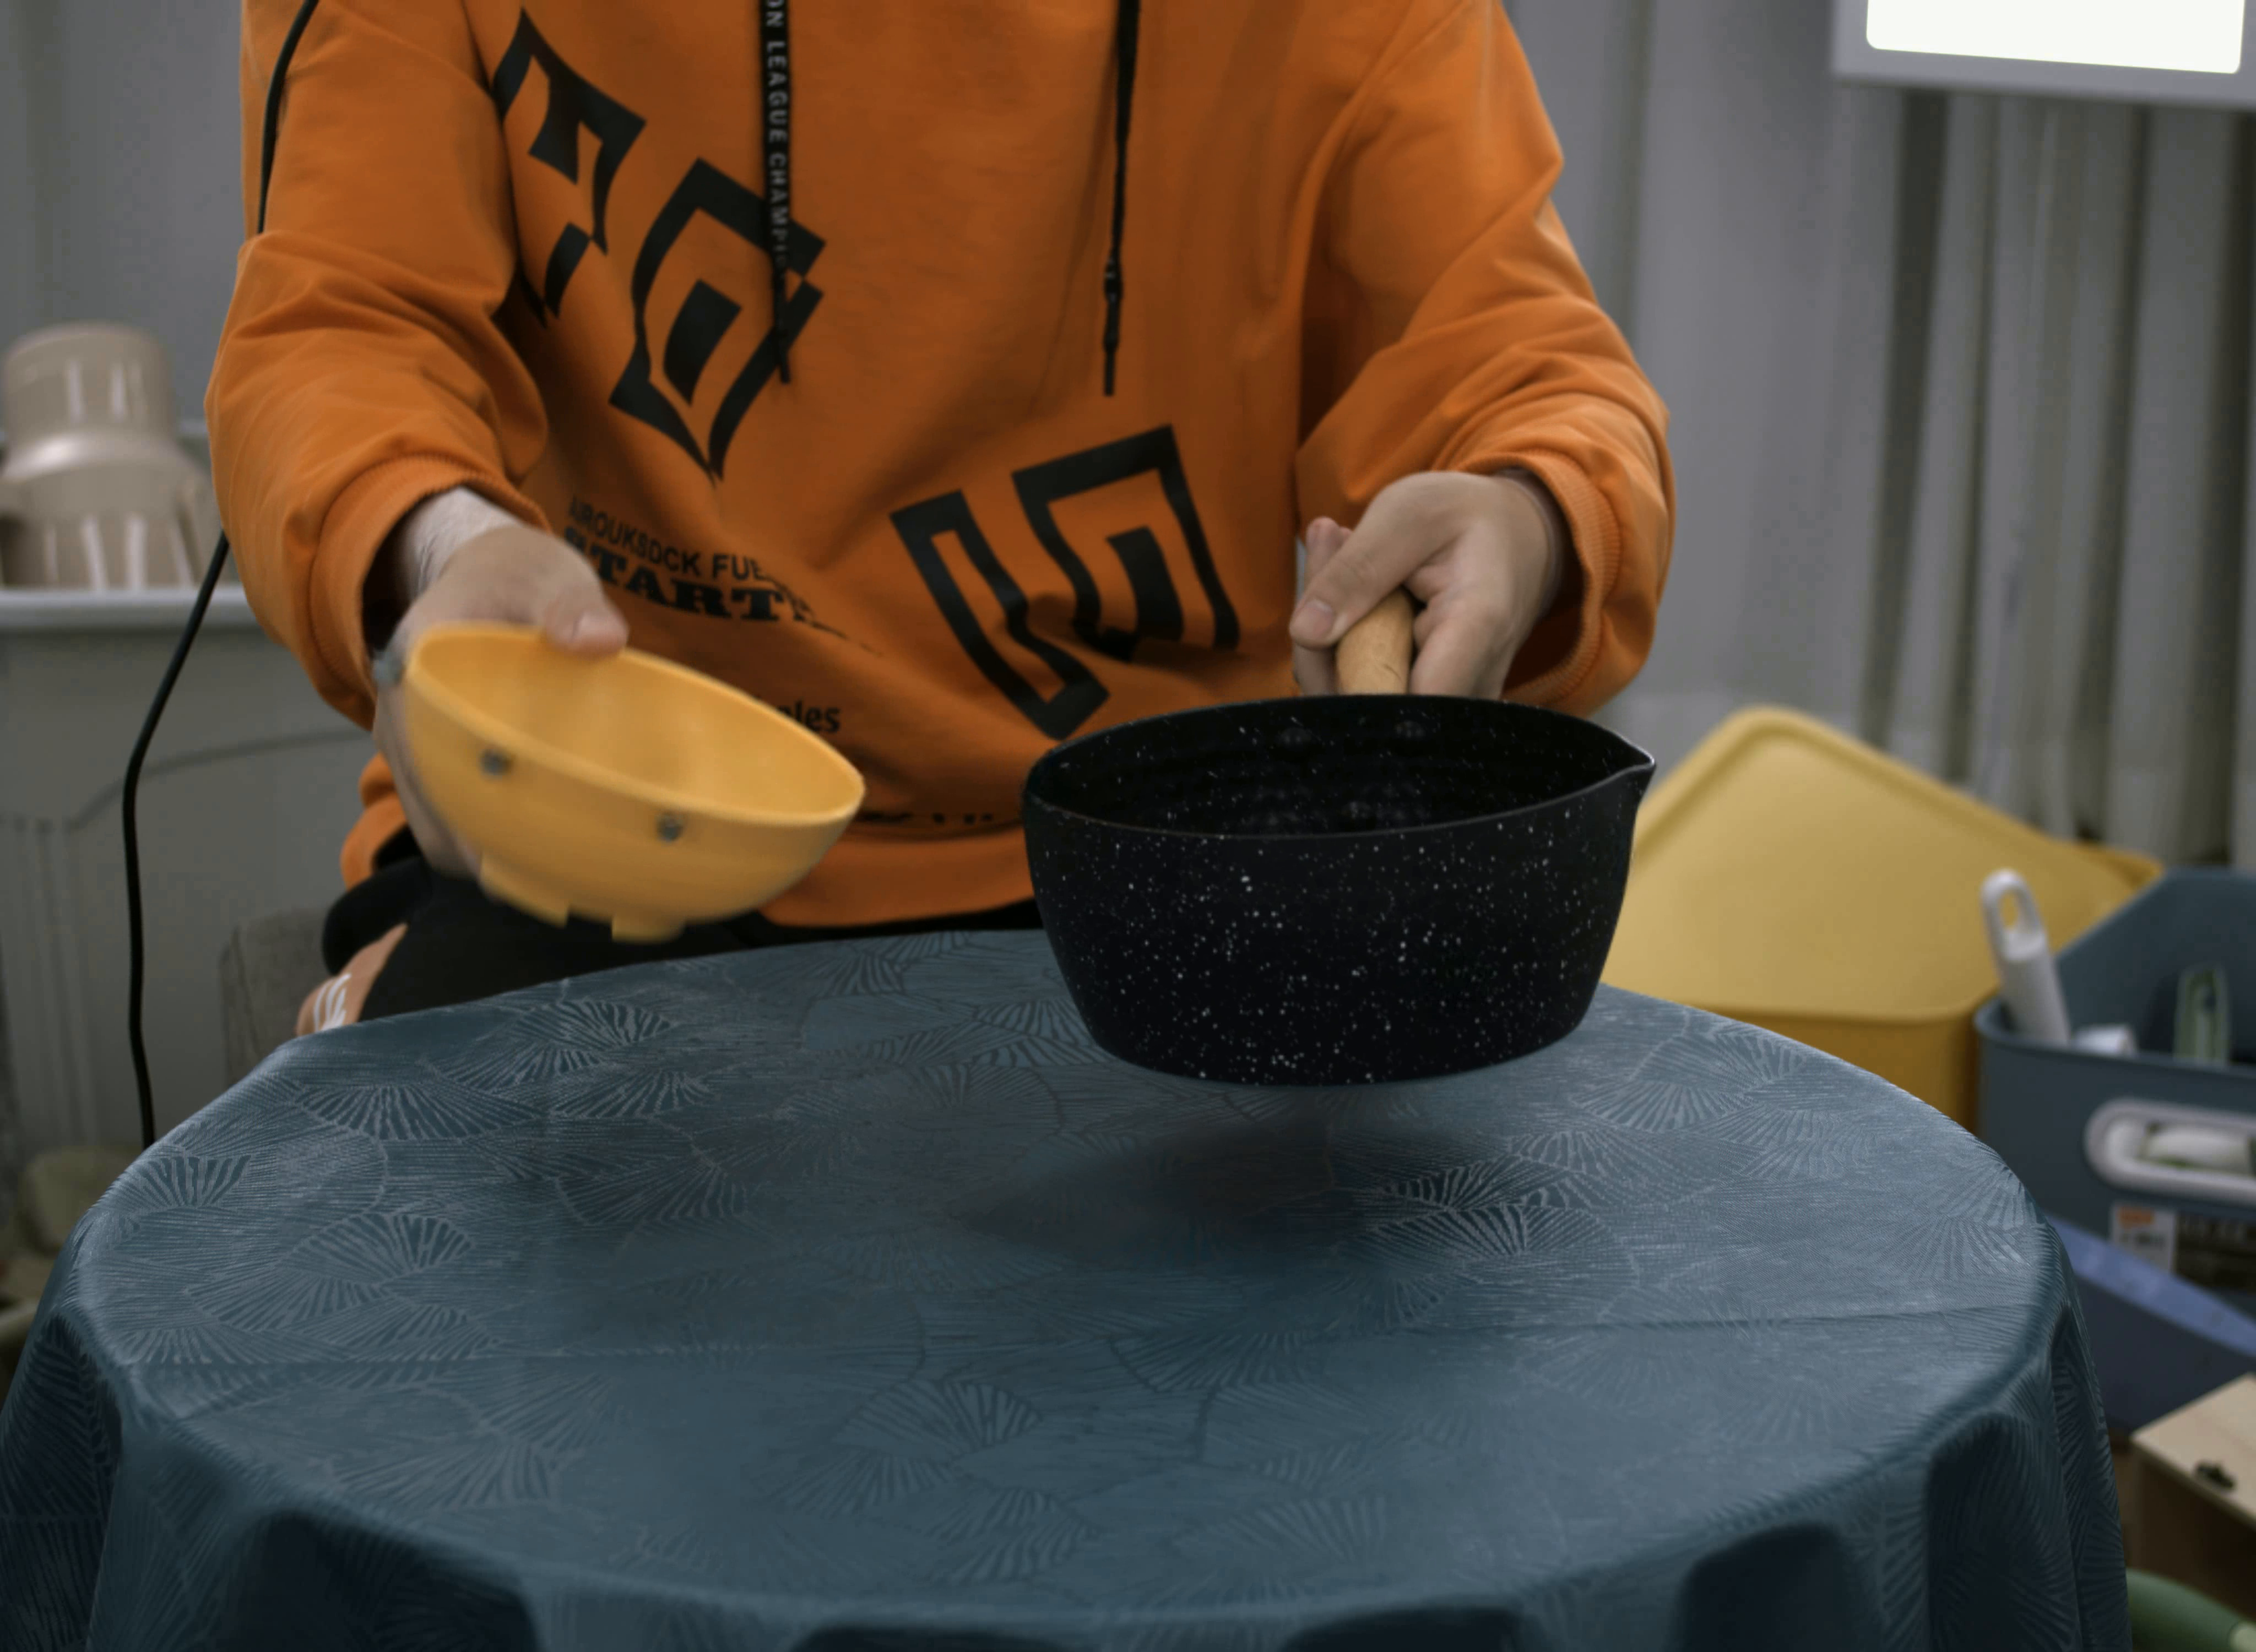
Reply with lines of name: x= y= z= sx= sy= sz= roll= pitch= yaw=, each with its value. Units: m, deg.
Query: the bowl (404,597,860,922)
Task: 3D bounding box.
bowl: x=-0.157 y=-0.012 z=1.578 sx=0.145 sy=0.060 sz=0.144 roll=22 pitch=13 yaw=-5

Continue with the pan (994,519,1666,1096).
pan: x=0.070 y=-0.011 z=1.678 sx=0.206 sy=0.109 sz=0.341 roll=-3 pitch=15 yaw=7
